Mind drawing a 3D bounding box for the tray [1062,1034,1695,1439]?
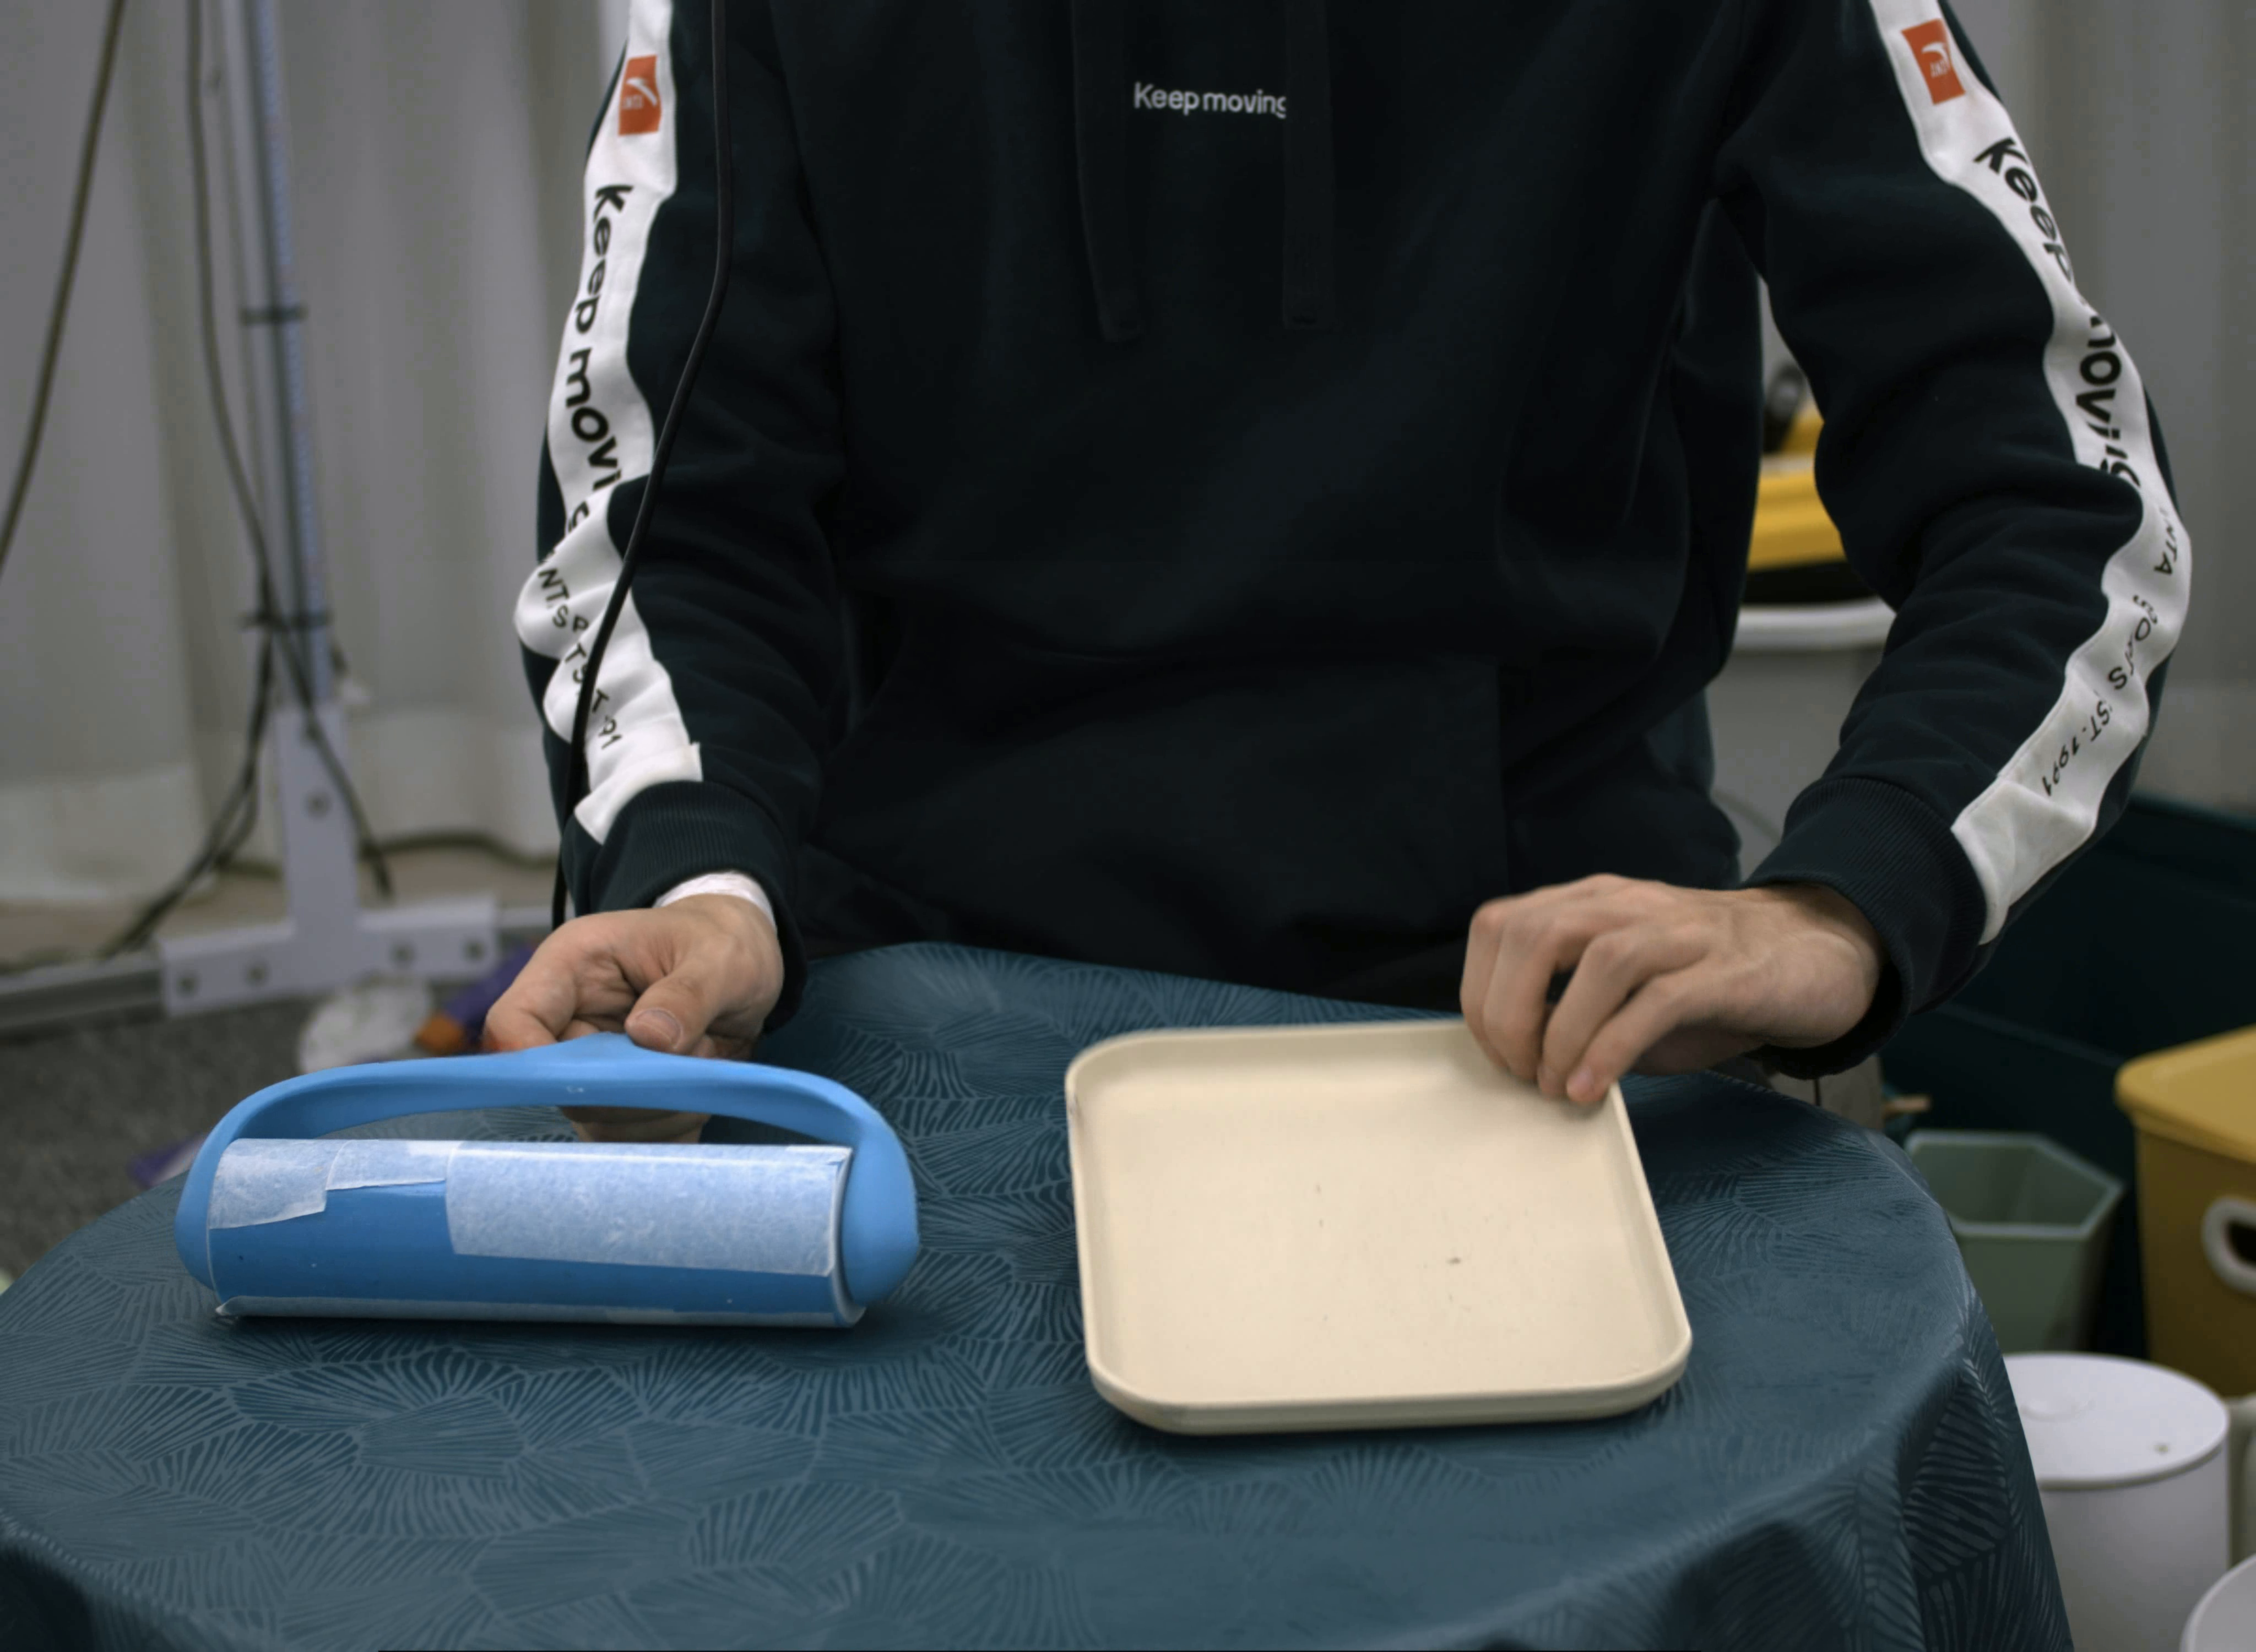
[{"bbox_3d":[0.069,0.119,1.601,0.170,0.017,0.242,-2,22,-2],"label":"tray"}]

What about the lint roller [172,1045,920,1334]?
[{"bbox_3d":[-0.165,0.099,1.674,0.228,0.067,0.182,-2,21,10],"label":"lint roller"}]
